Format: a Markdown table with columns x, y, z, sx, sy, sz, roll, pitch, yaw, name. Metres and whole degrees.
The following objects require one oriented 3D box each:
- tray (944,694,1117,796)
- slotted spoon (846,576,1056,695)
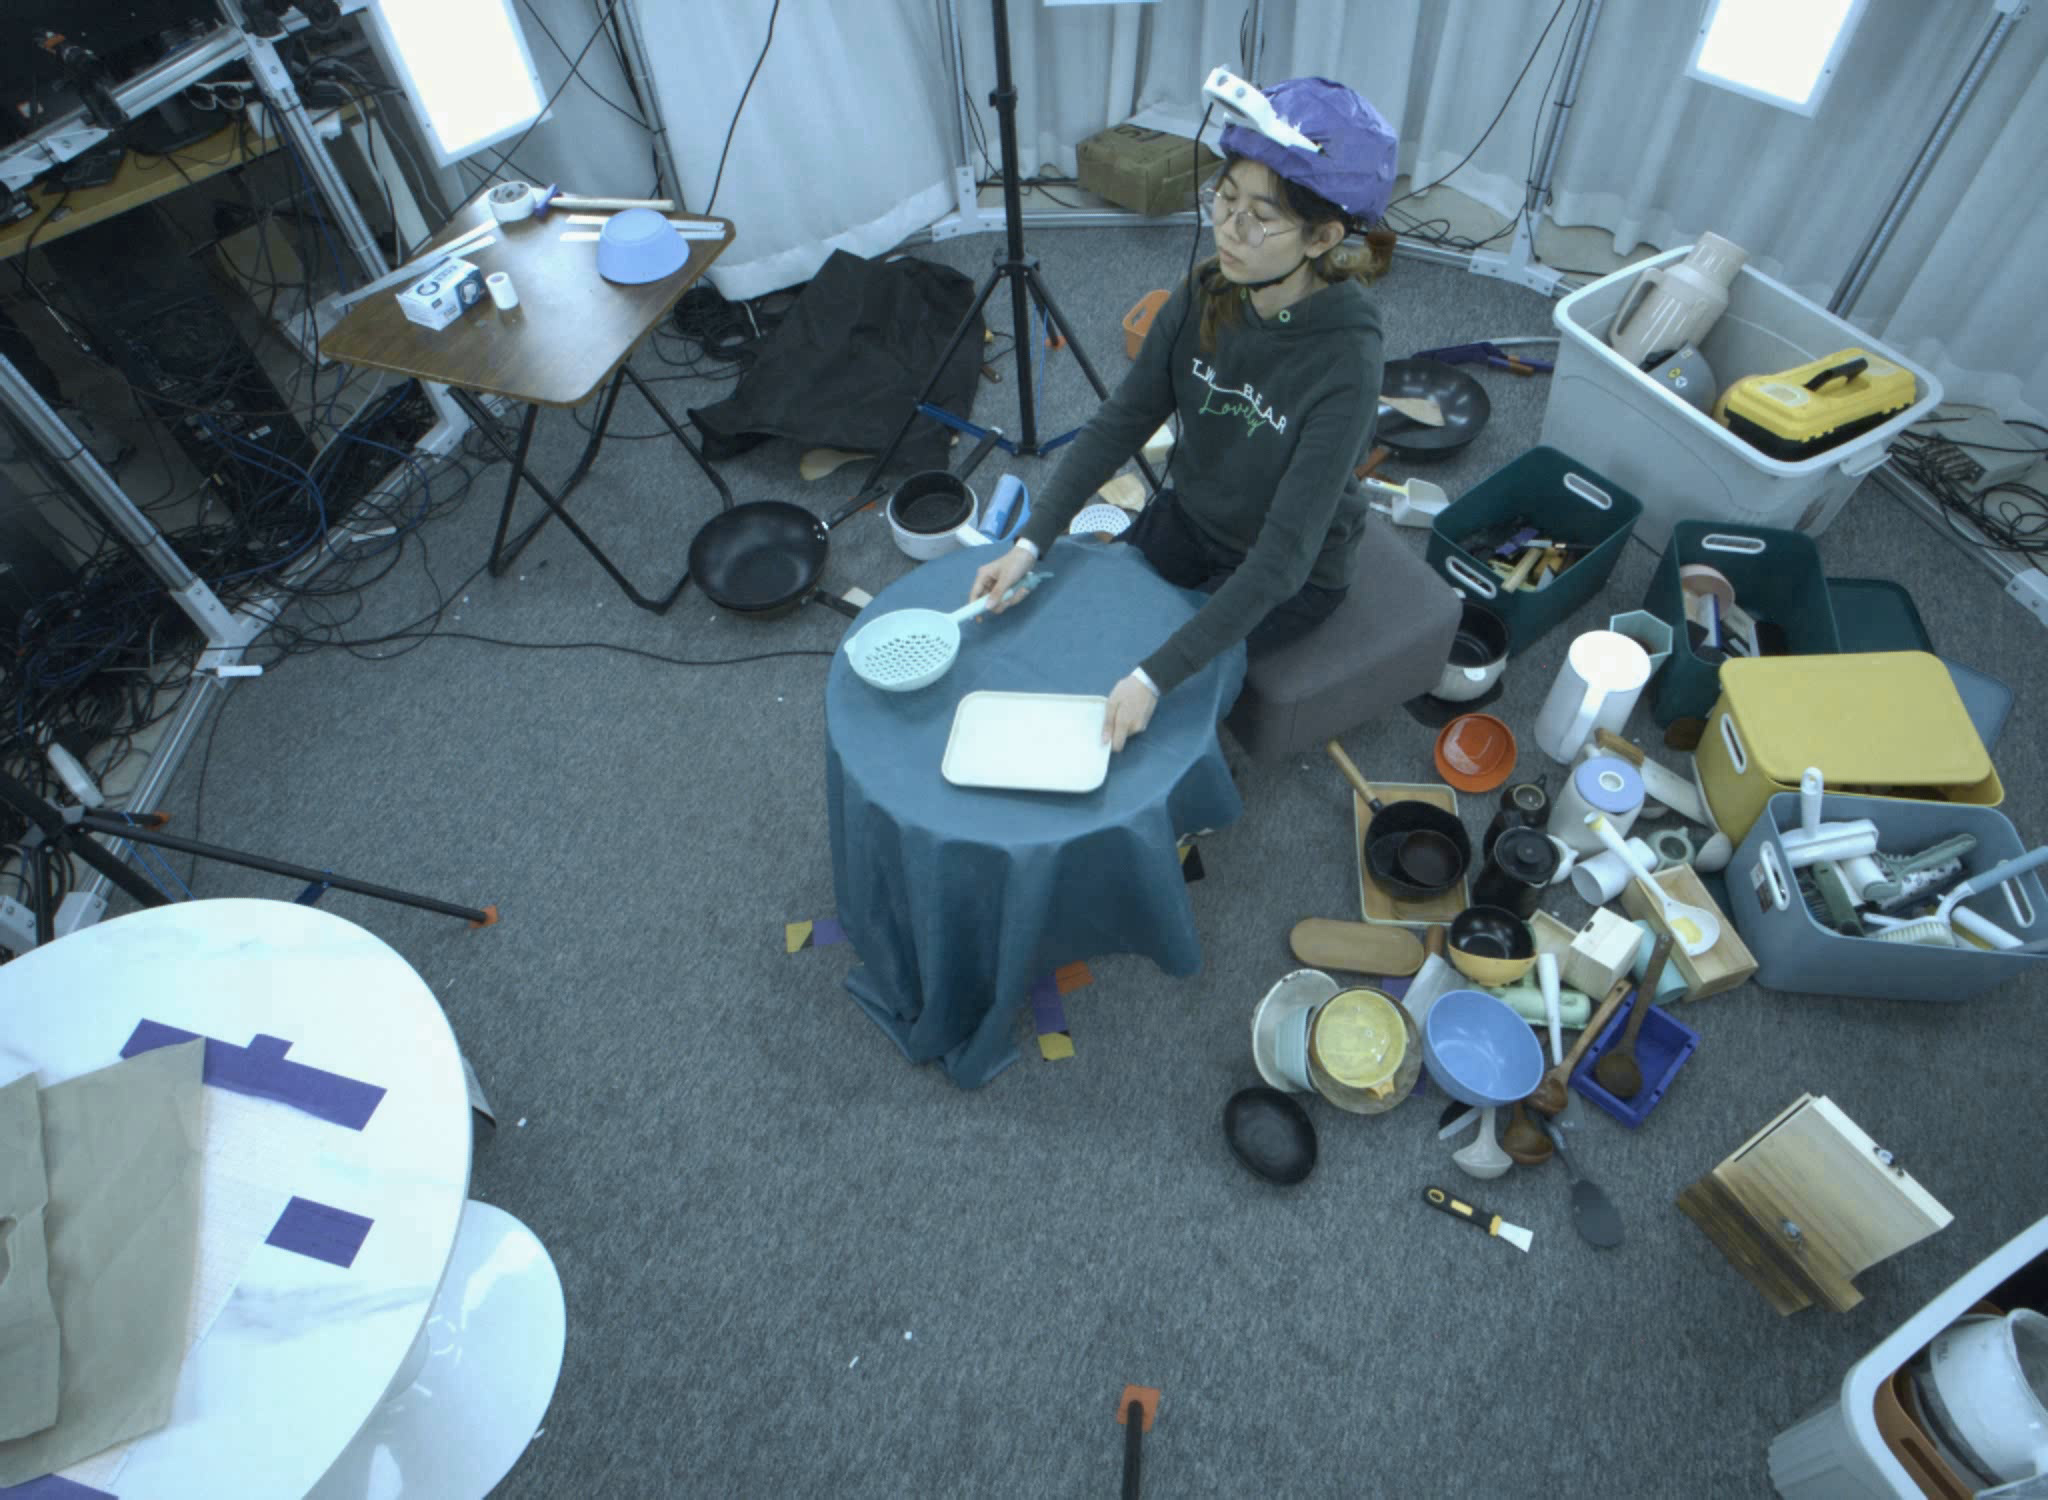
| x | y | z | sx | sy | sz | roll | pitch | yaw | name |
| --- | --- | --- | --- | --- | --- | --- | --- | --- | --- |
| 0.011 | -0.007 | 1.779 | 0.238 | 0.018 | 0.170 | 3 | 55 | 11 | tray |
| -0.099 | -0.192 | 1.886 | 0.361 | 0.076 | 0.165 | -37 | 52 | -17 | slotted spoon |
